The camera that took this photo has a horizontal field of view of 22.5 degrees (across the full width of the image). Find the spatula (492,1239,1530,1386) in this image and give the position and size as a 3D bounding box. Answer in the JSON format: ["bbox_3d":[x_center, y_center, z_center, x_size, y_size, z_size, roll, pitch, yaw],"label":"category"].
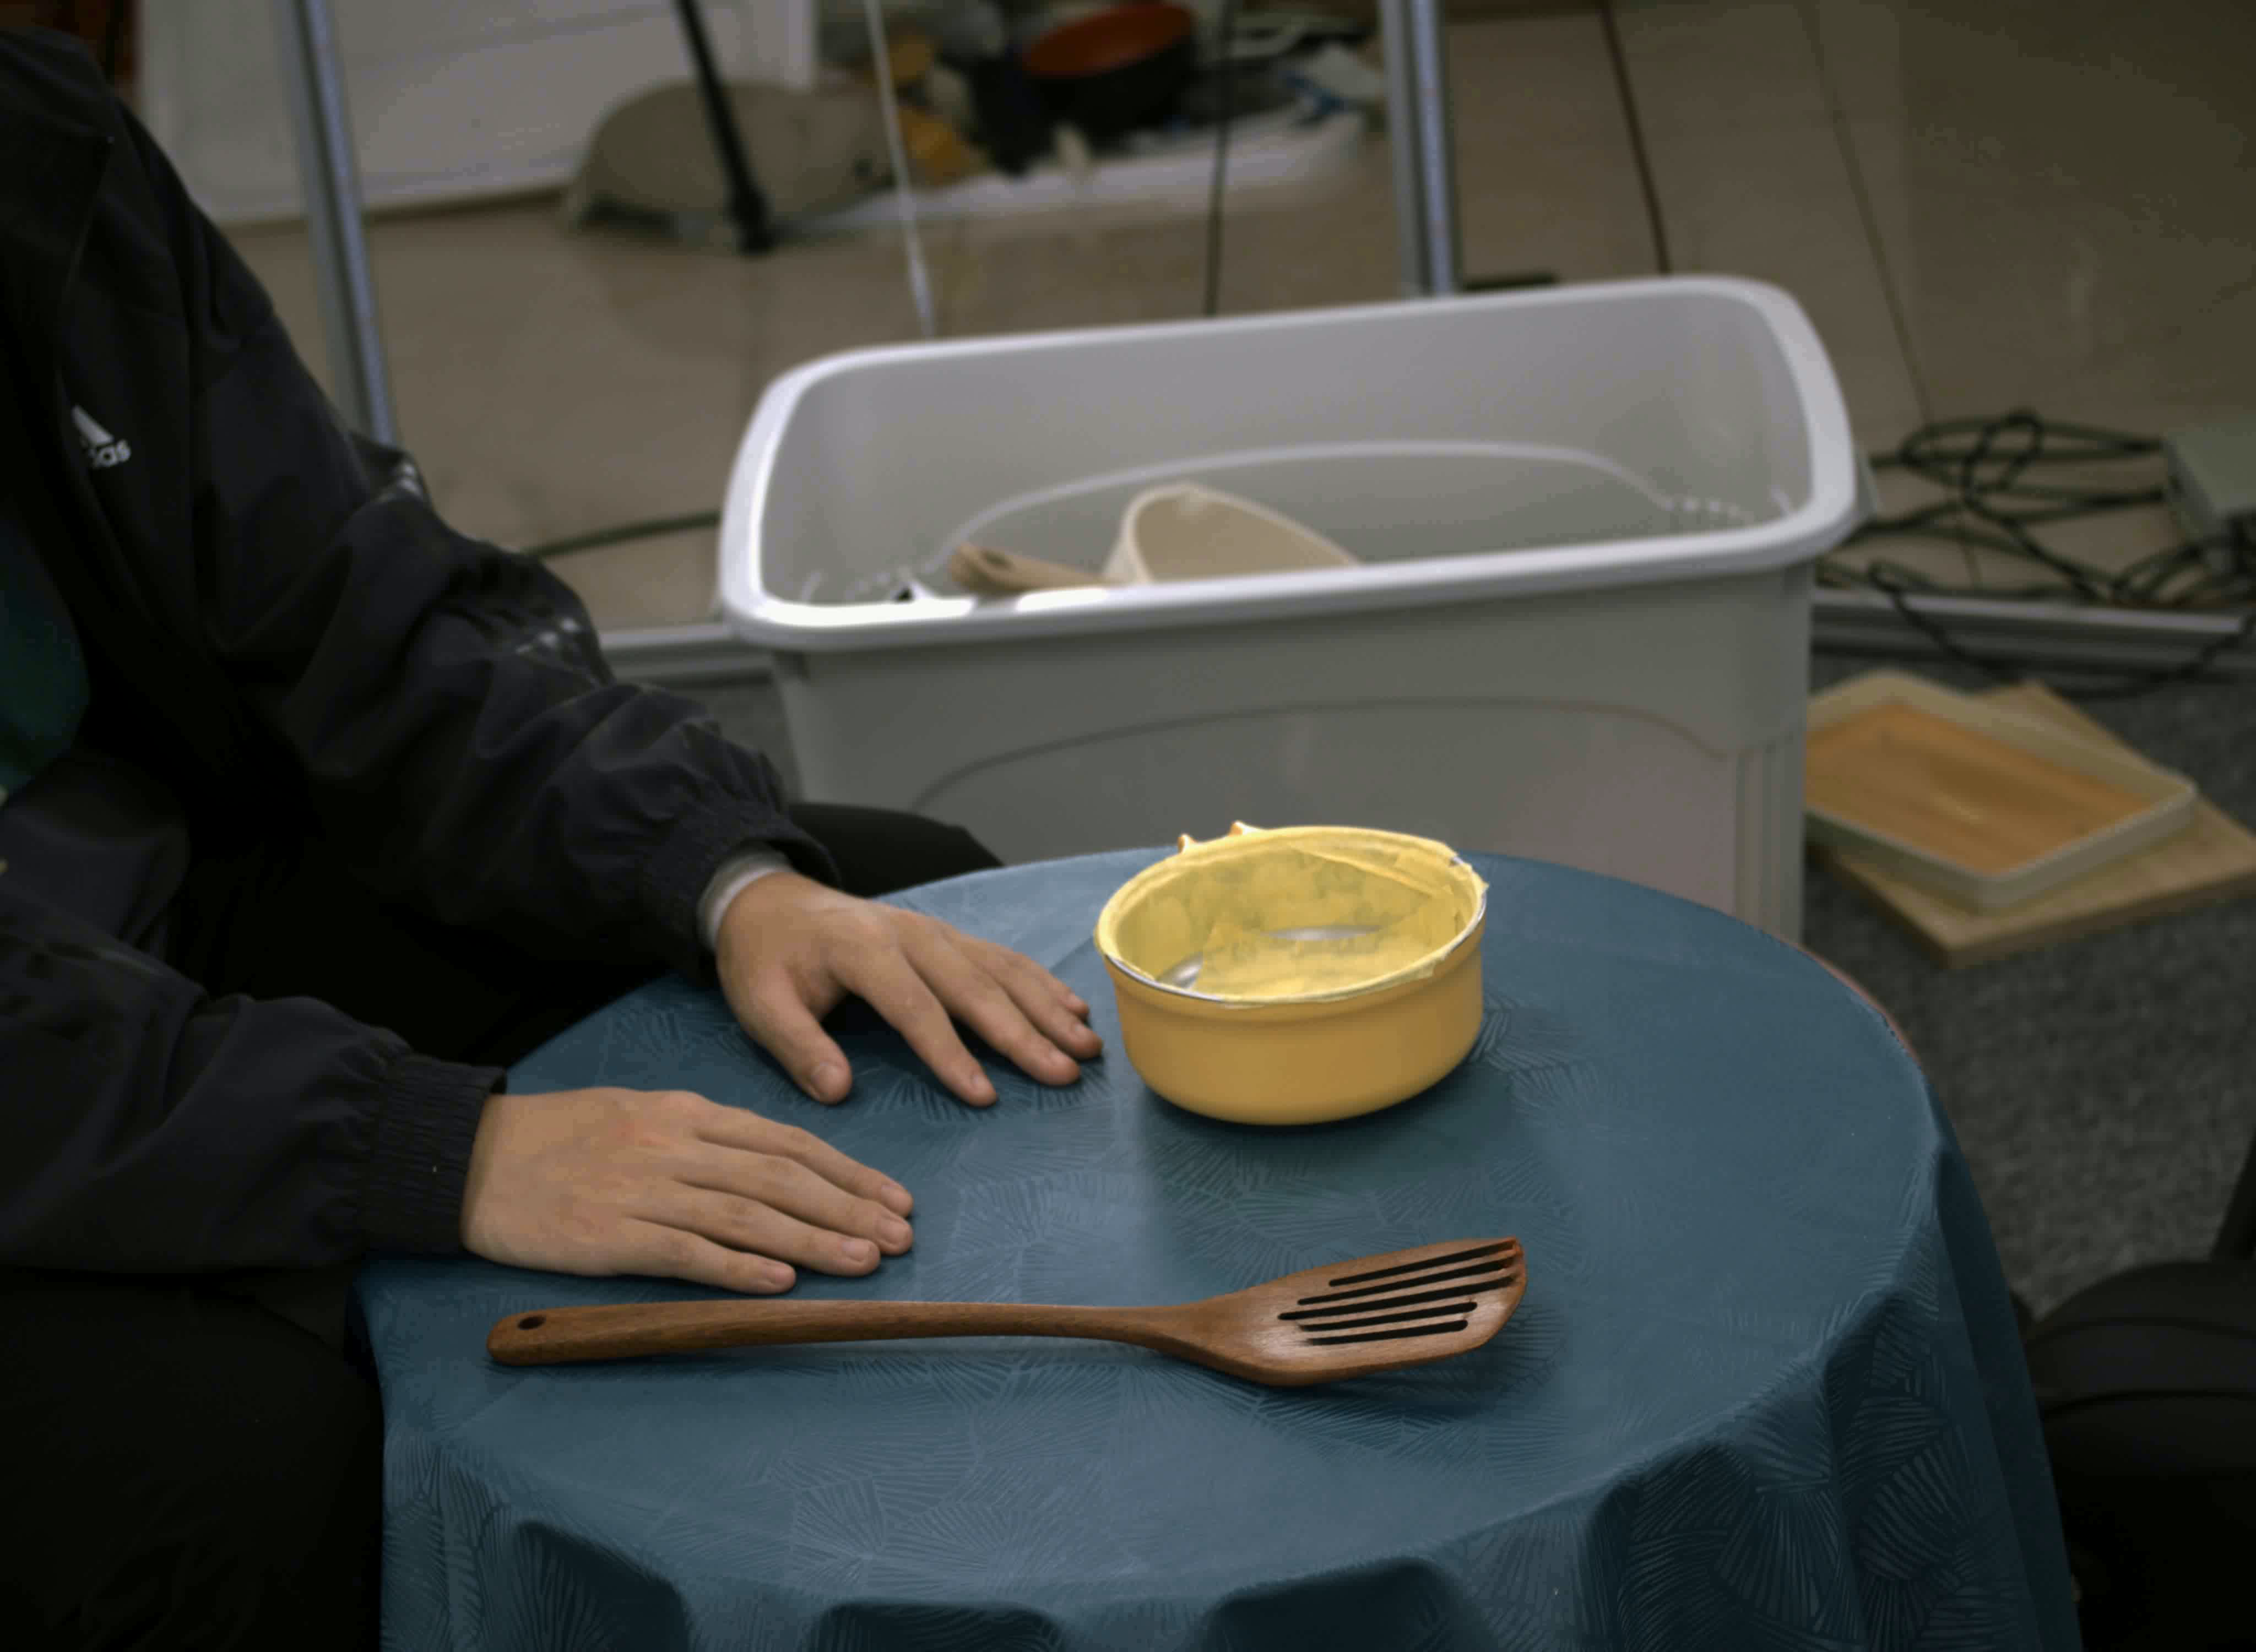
[{"bbox_3d":[-0.046,0.179,2.049,0.386,0.024,0.084,-2,24,14],"label":"spatula"}]

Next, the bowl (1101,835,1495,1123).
[{"bbox_3d":[0.064,0.058,2.228,0.152,0.075,0.177,-16,26,-19],"label":"bowl"}]
